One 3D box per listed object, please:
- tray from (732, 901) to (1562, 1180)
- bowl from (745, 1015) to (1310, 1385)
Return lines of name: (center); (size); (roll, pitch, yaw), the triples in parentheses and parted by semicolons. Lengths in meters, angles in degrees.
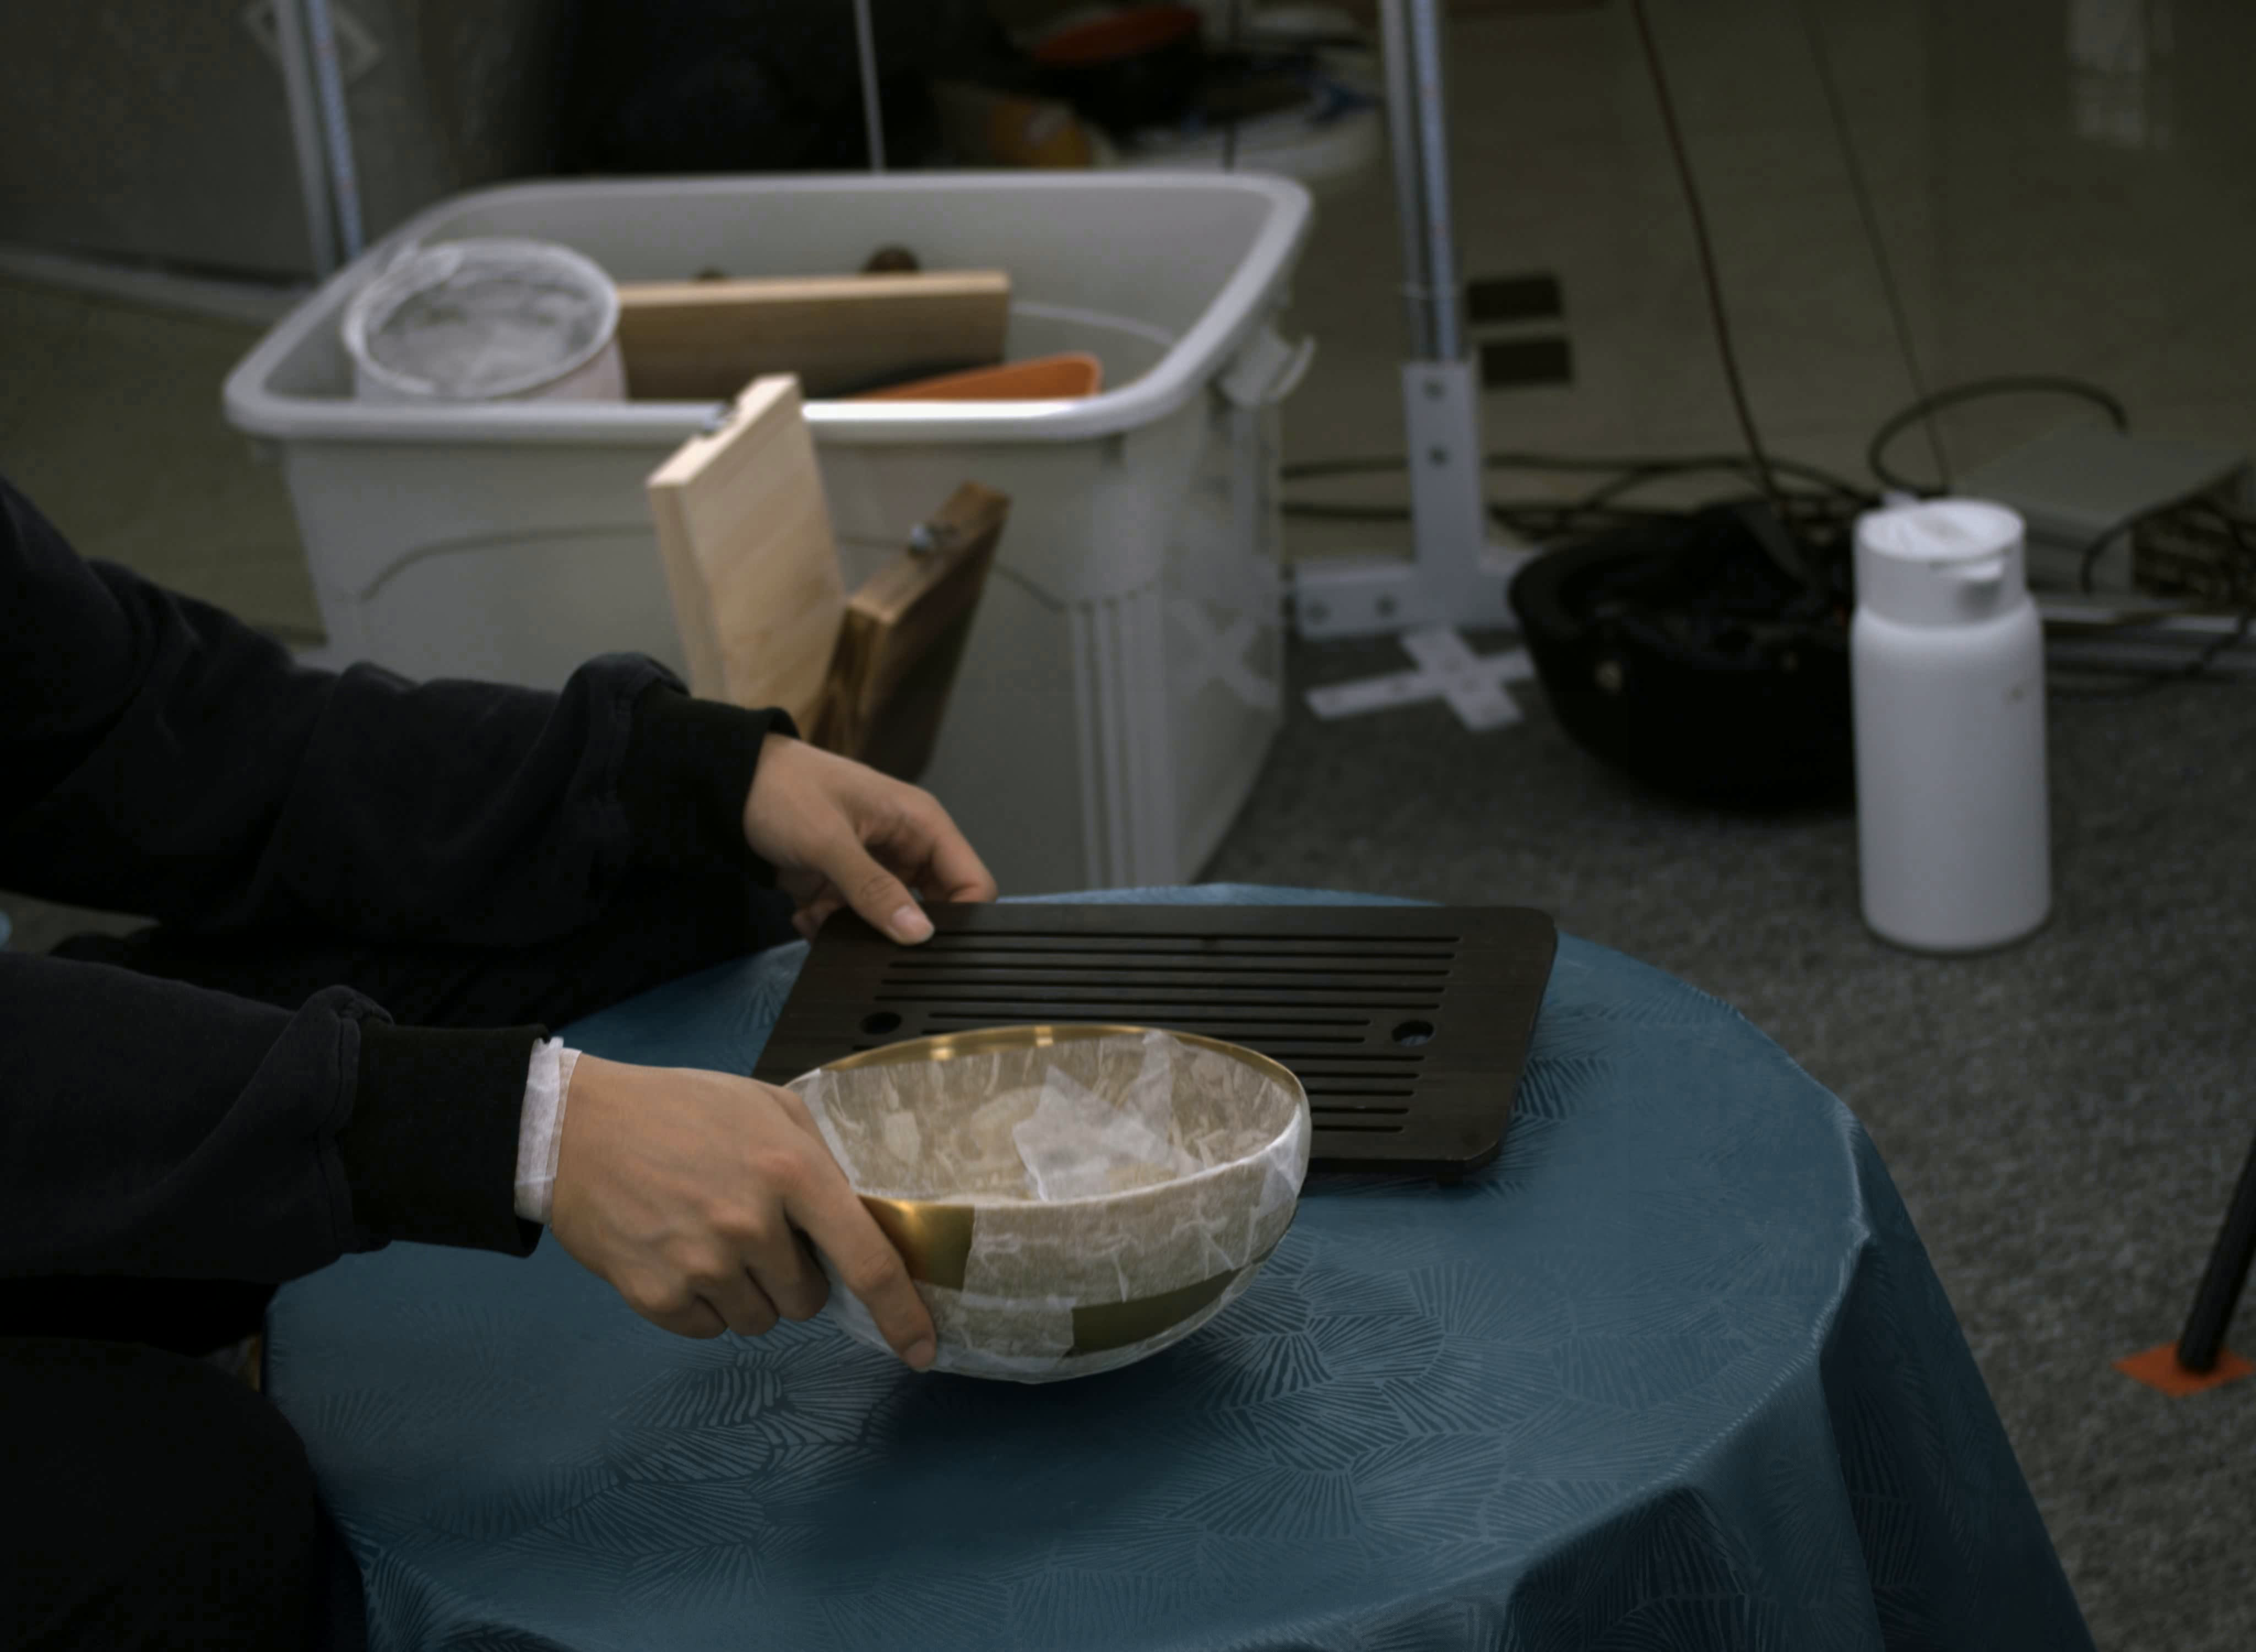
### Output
tray: (0.009, 0.084, 2.224); (0.305, 0.019, 0.167); (0, 34, 15)
bowl: (-0.035, 0.143, 2.035); (0.214, 0.096, 0.212); (-3, 18, 1)
